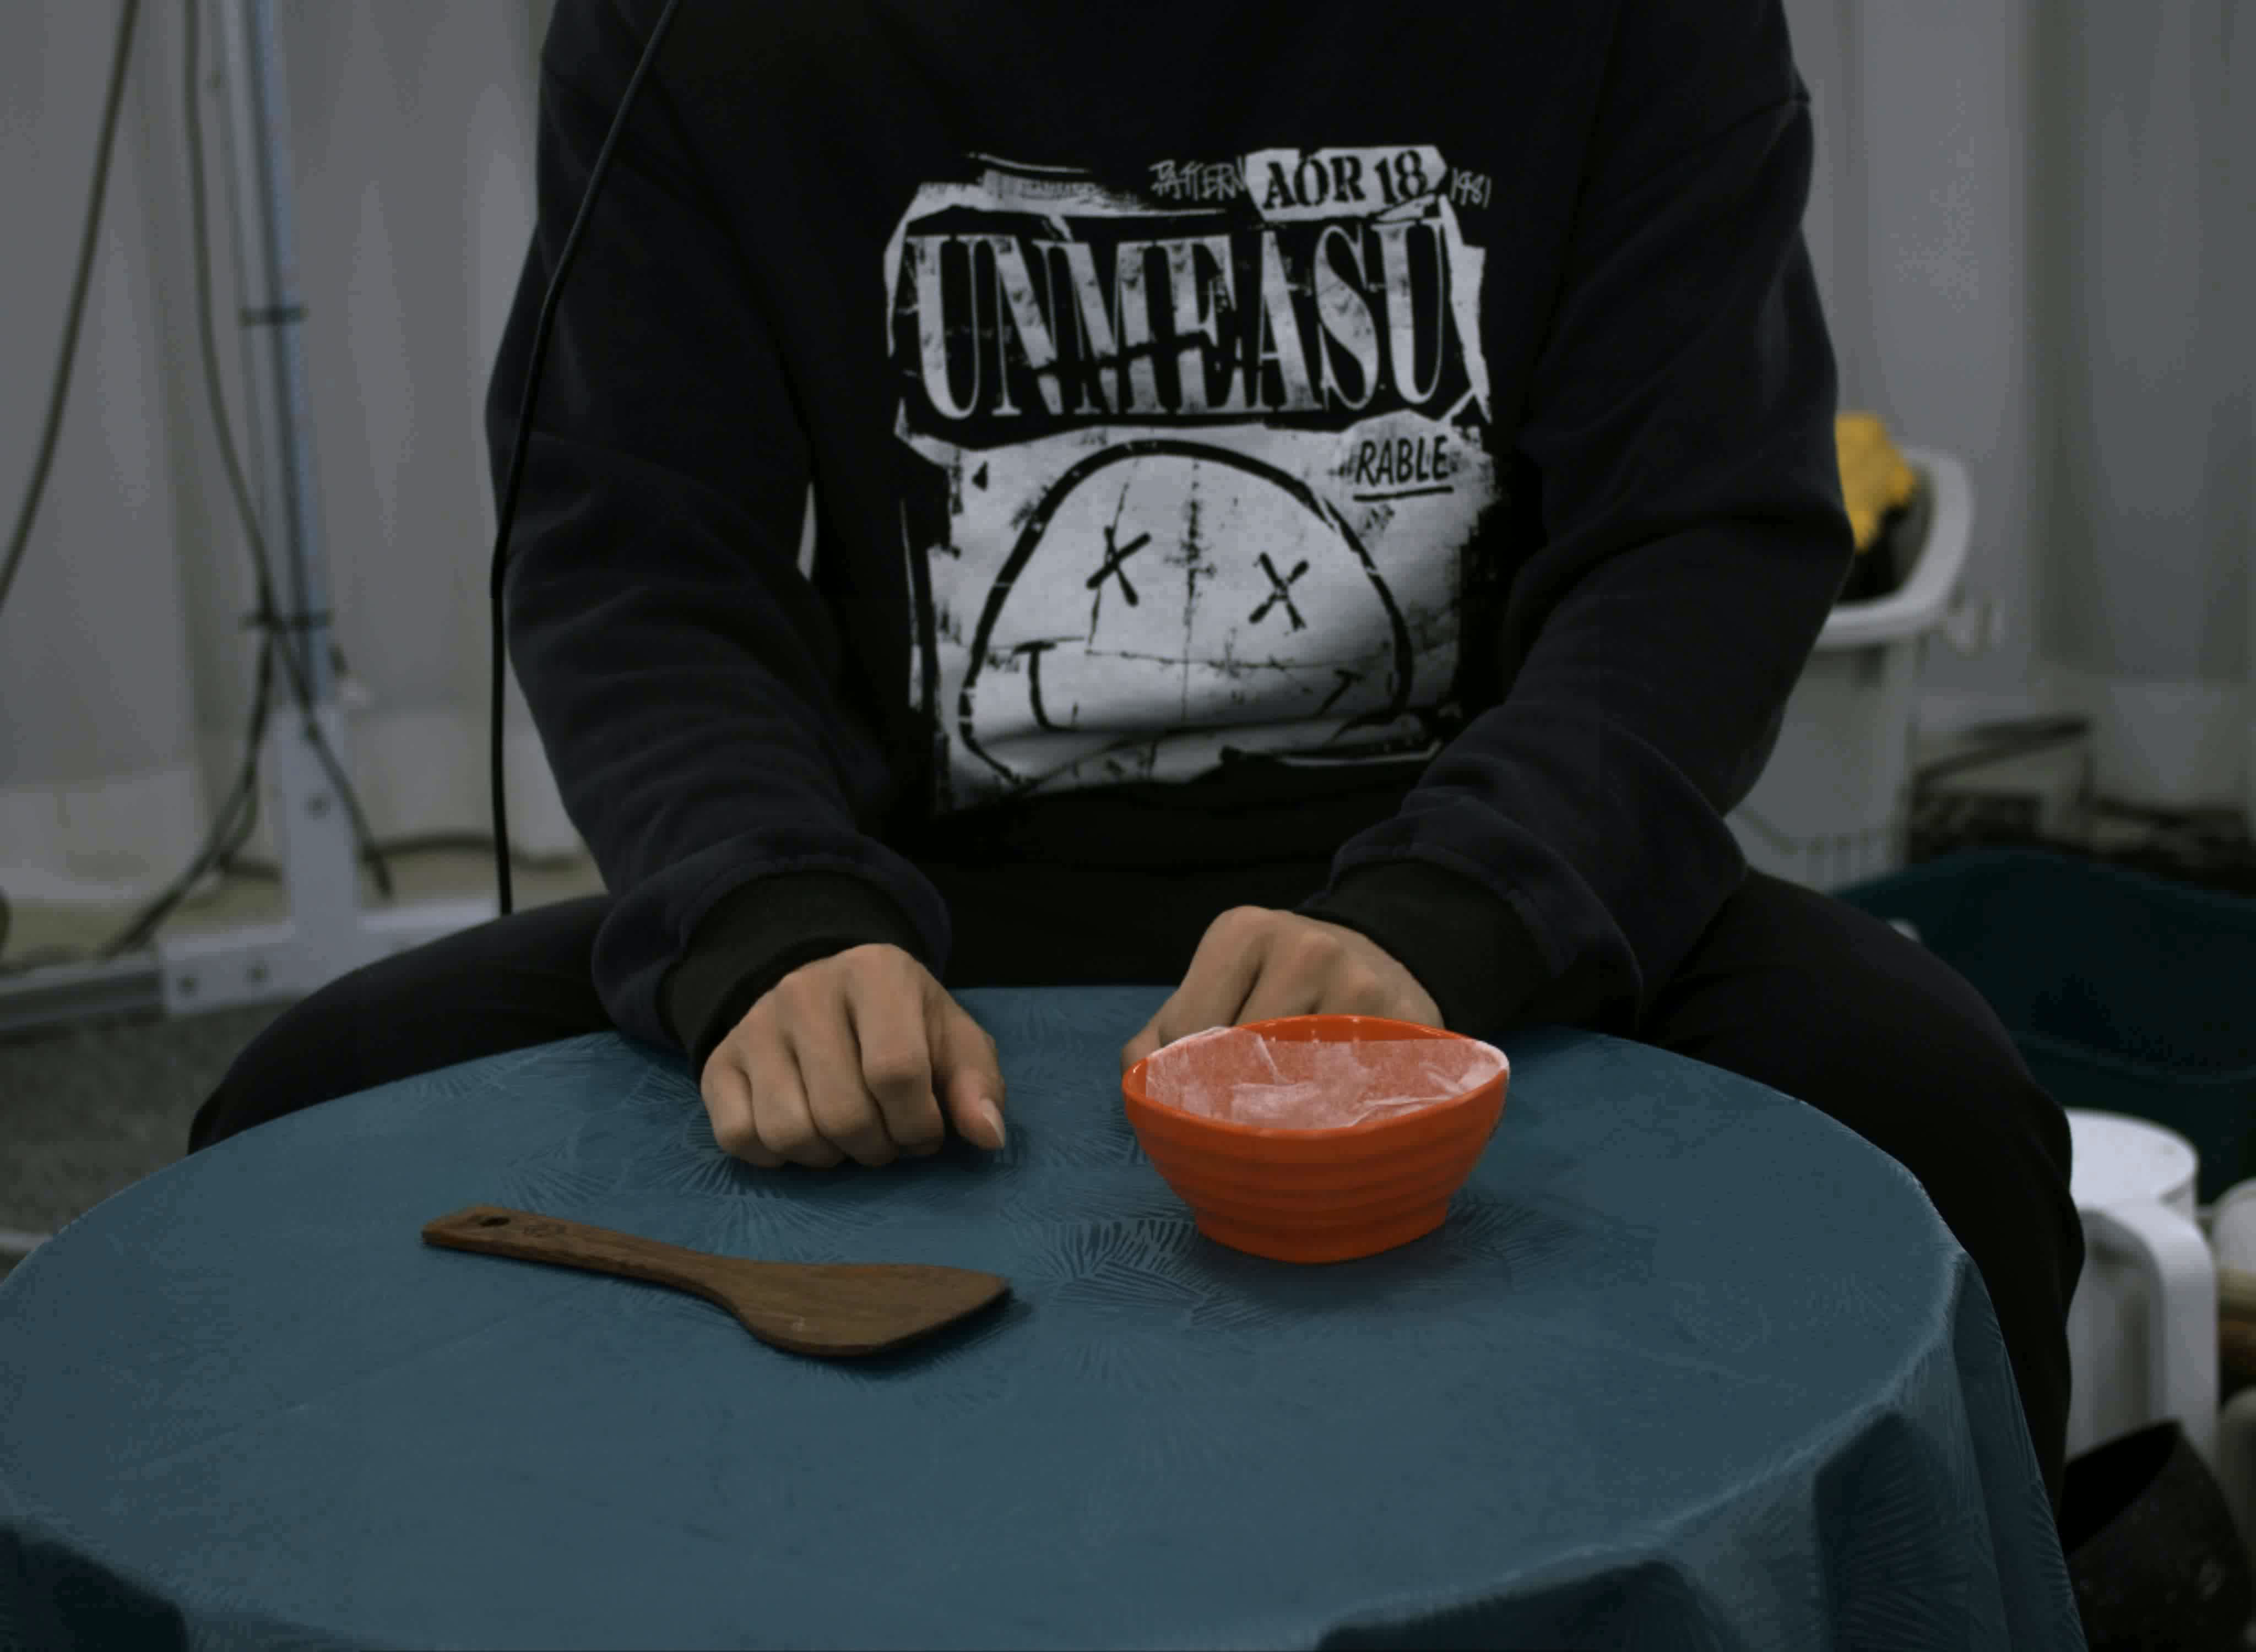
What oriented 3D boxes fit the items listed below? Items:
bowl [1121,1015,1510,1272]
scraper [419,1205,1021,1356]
[{"bbox_3d":[0.058,0.099,1.669,0.118,0.051,0.120,-4,16,1],"label":"bowl"},{"bbox_3d":[-0.131,0.134,1.650,0.212,0.011,0.076,7,17,36],"label":"scraper"}]
